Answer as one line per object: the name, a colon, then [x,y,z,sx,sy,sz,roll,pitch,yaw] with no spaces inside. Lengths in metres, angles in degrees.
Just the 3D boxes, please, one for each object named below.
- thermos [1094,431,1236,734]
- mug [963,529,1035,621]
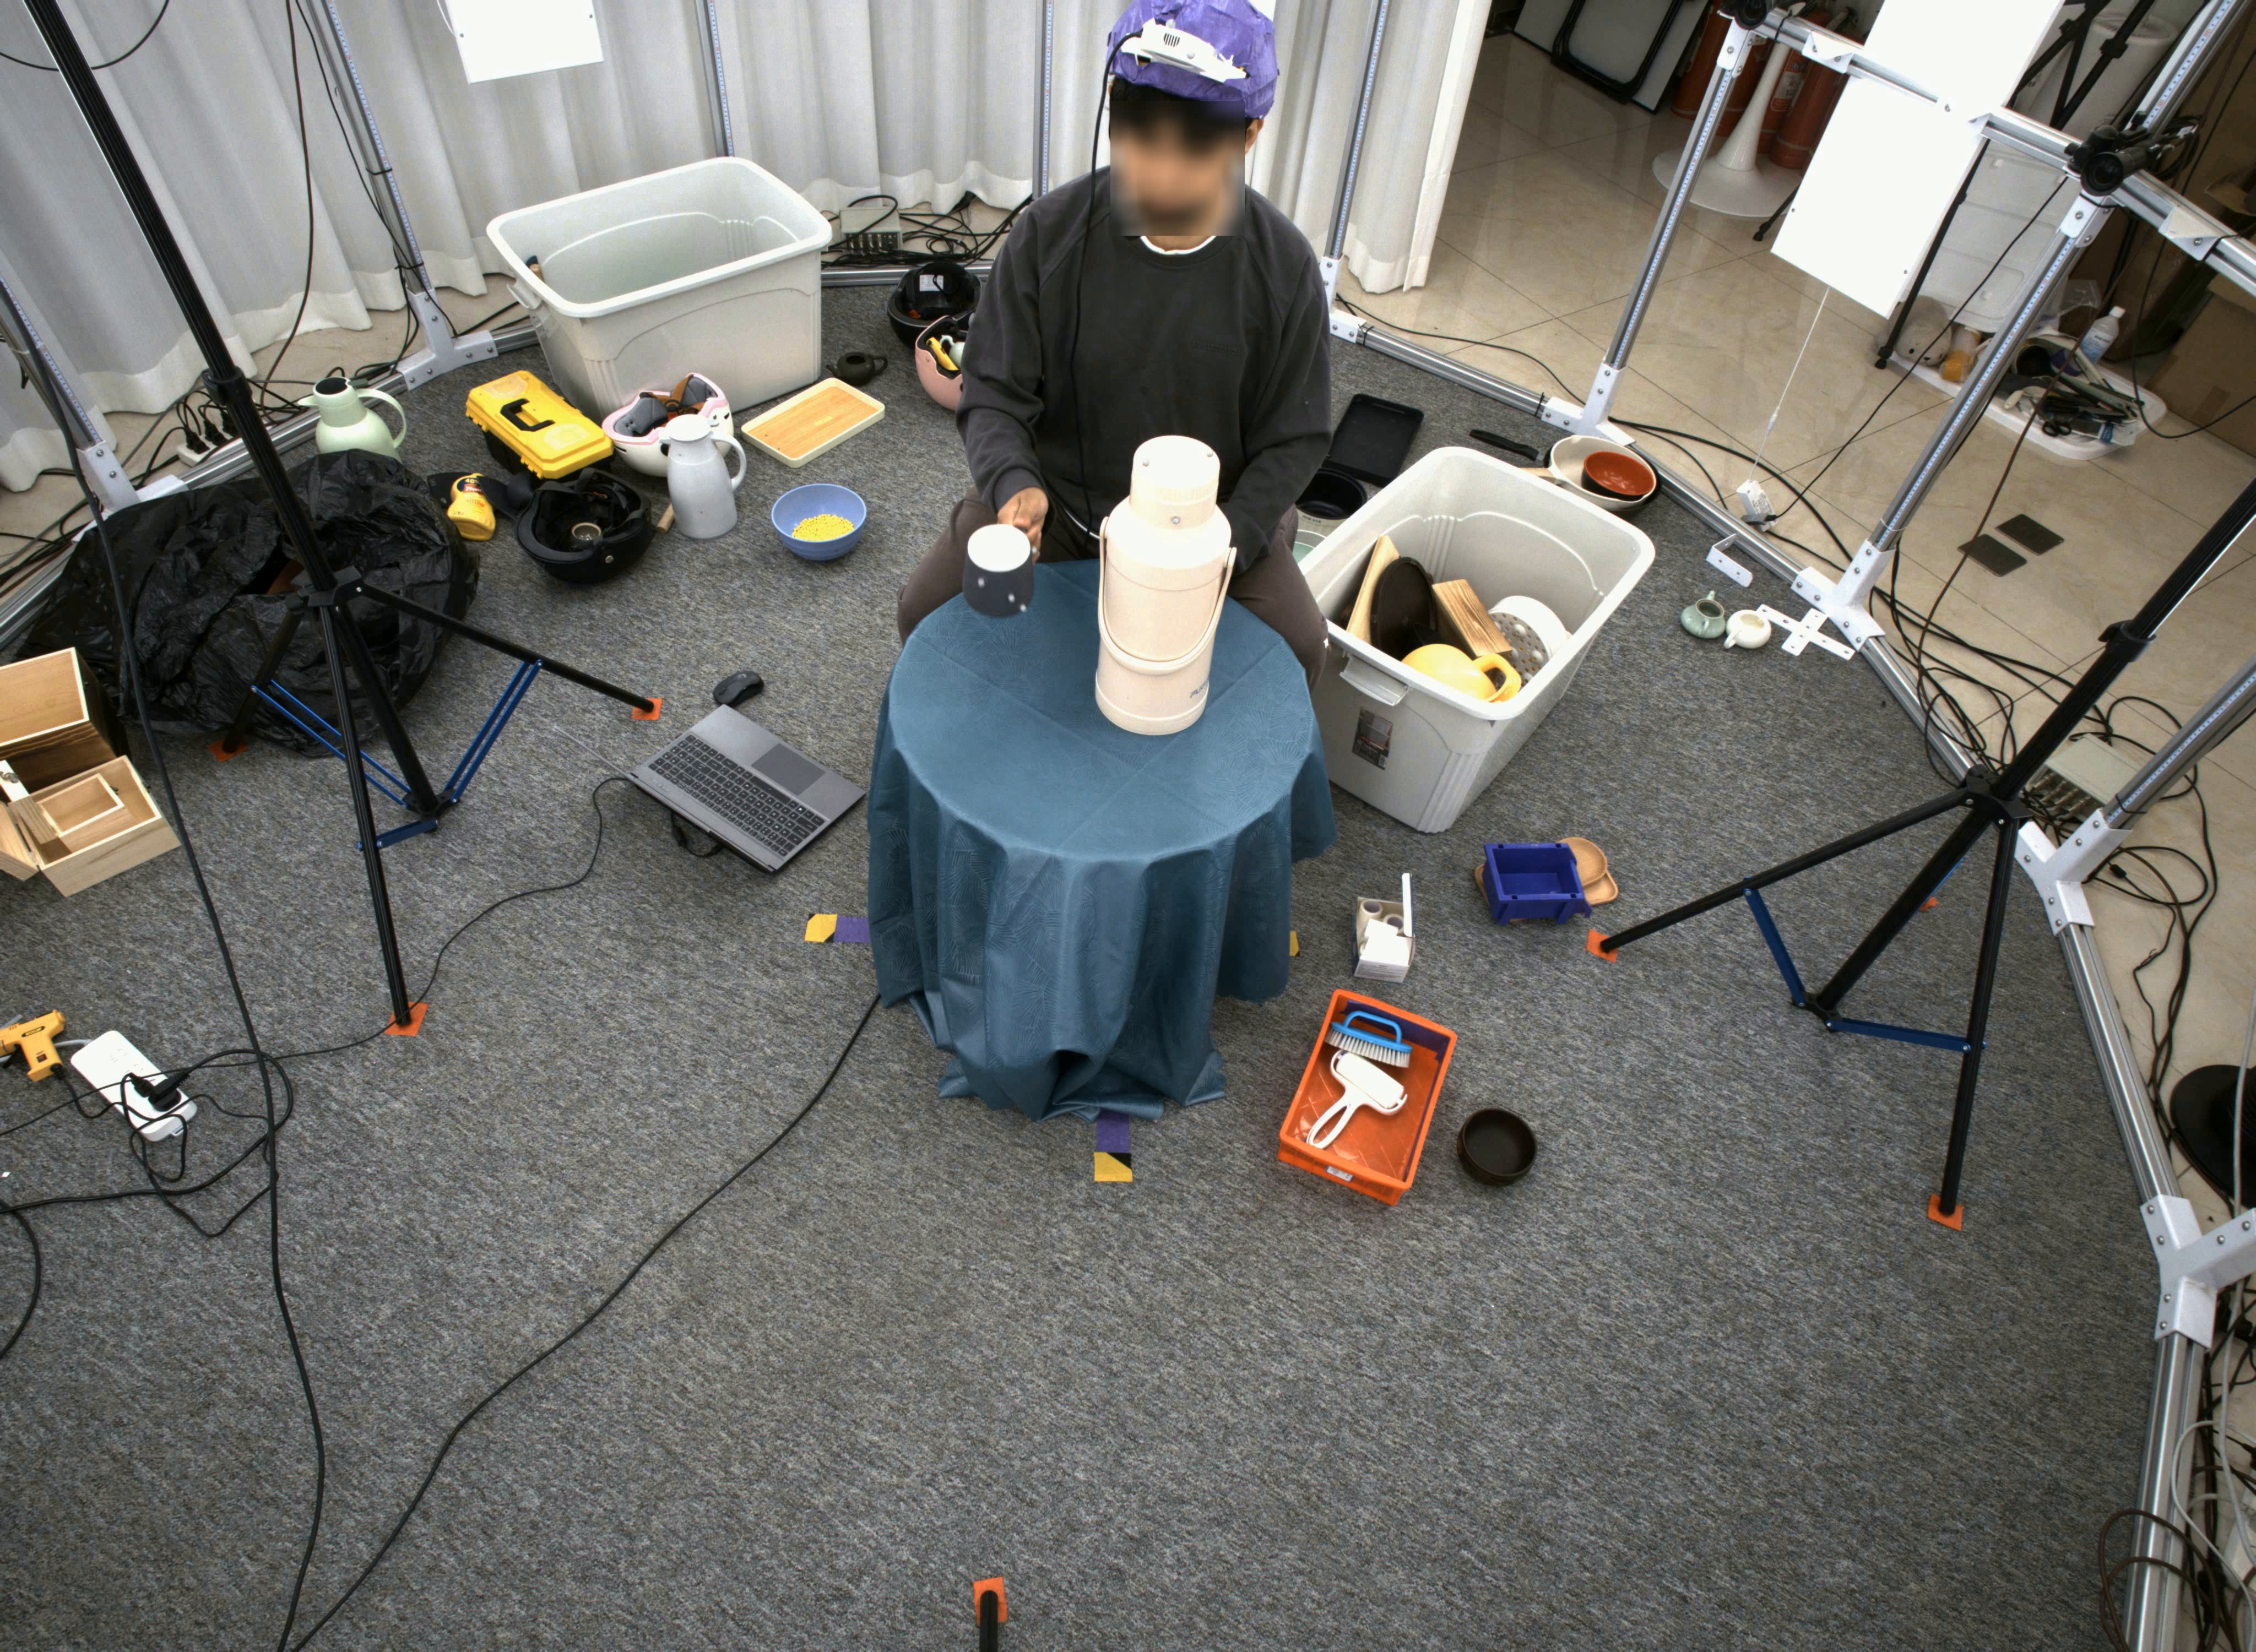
thermos: [0.050,-0.323,1.694,0.176,0.396,0.211,15,50,8]
mug: [-0.160,-0.335,1.673,0.094,0.088,0.125,22,57,10]
